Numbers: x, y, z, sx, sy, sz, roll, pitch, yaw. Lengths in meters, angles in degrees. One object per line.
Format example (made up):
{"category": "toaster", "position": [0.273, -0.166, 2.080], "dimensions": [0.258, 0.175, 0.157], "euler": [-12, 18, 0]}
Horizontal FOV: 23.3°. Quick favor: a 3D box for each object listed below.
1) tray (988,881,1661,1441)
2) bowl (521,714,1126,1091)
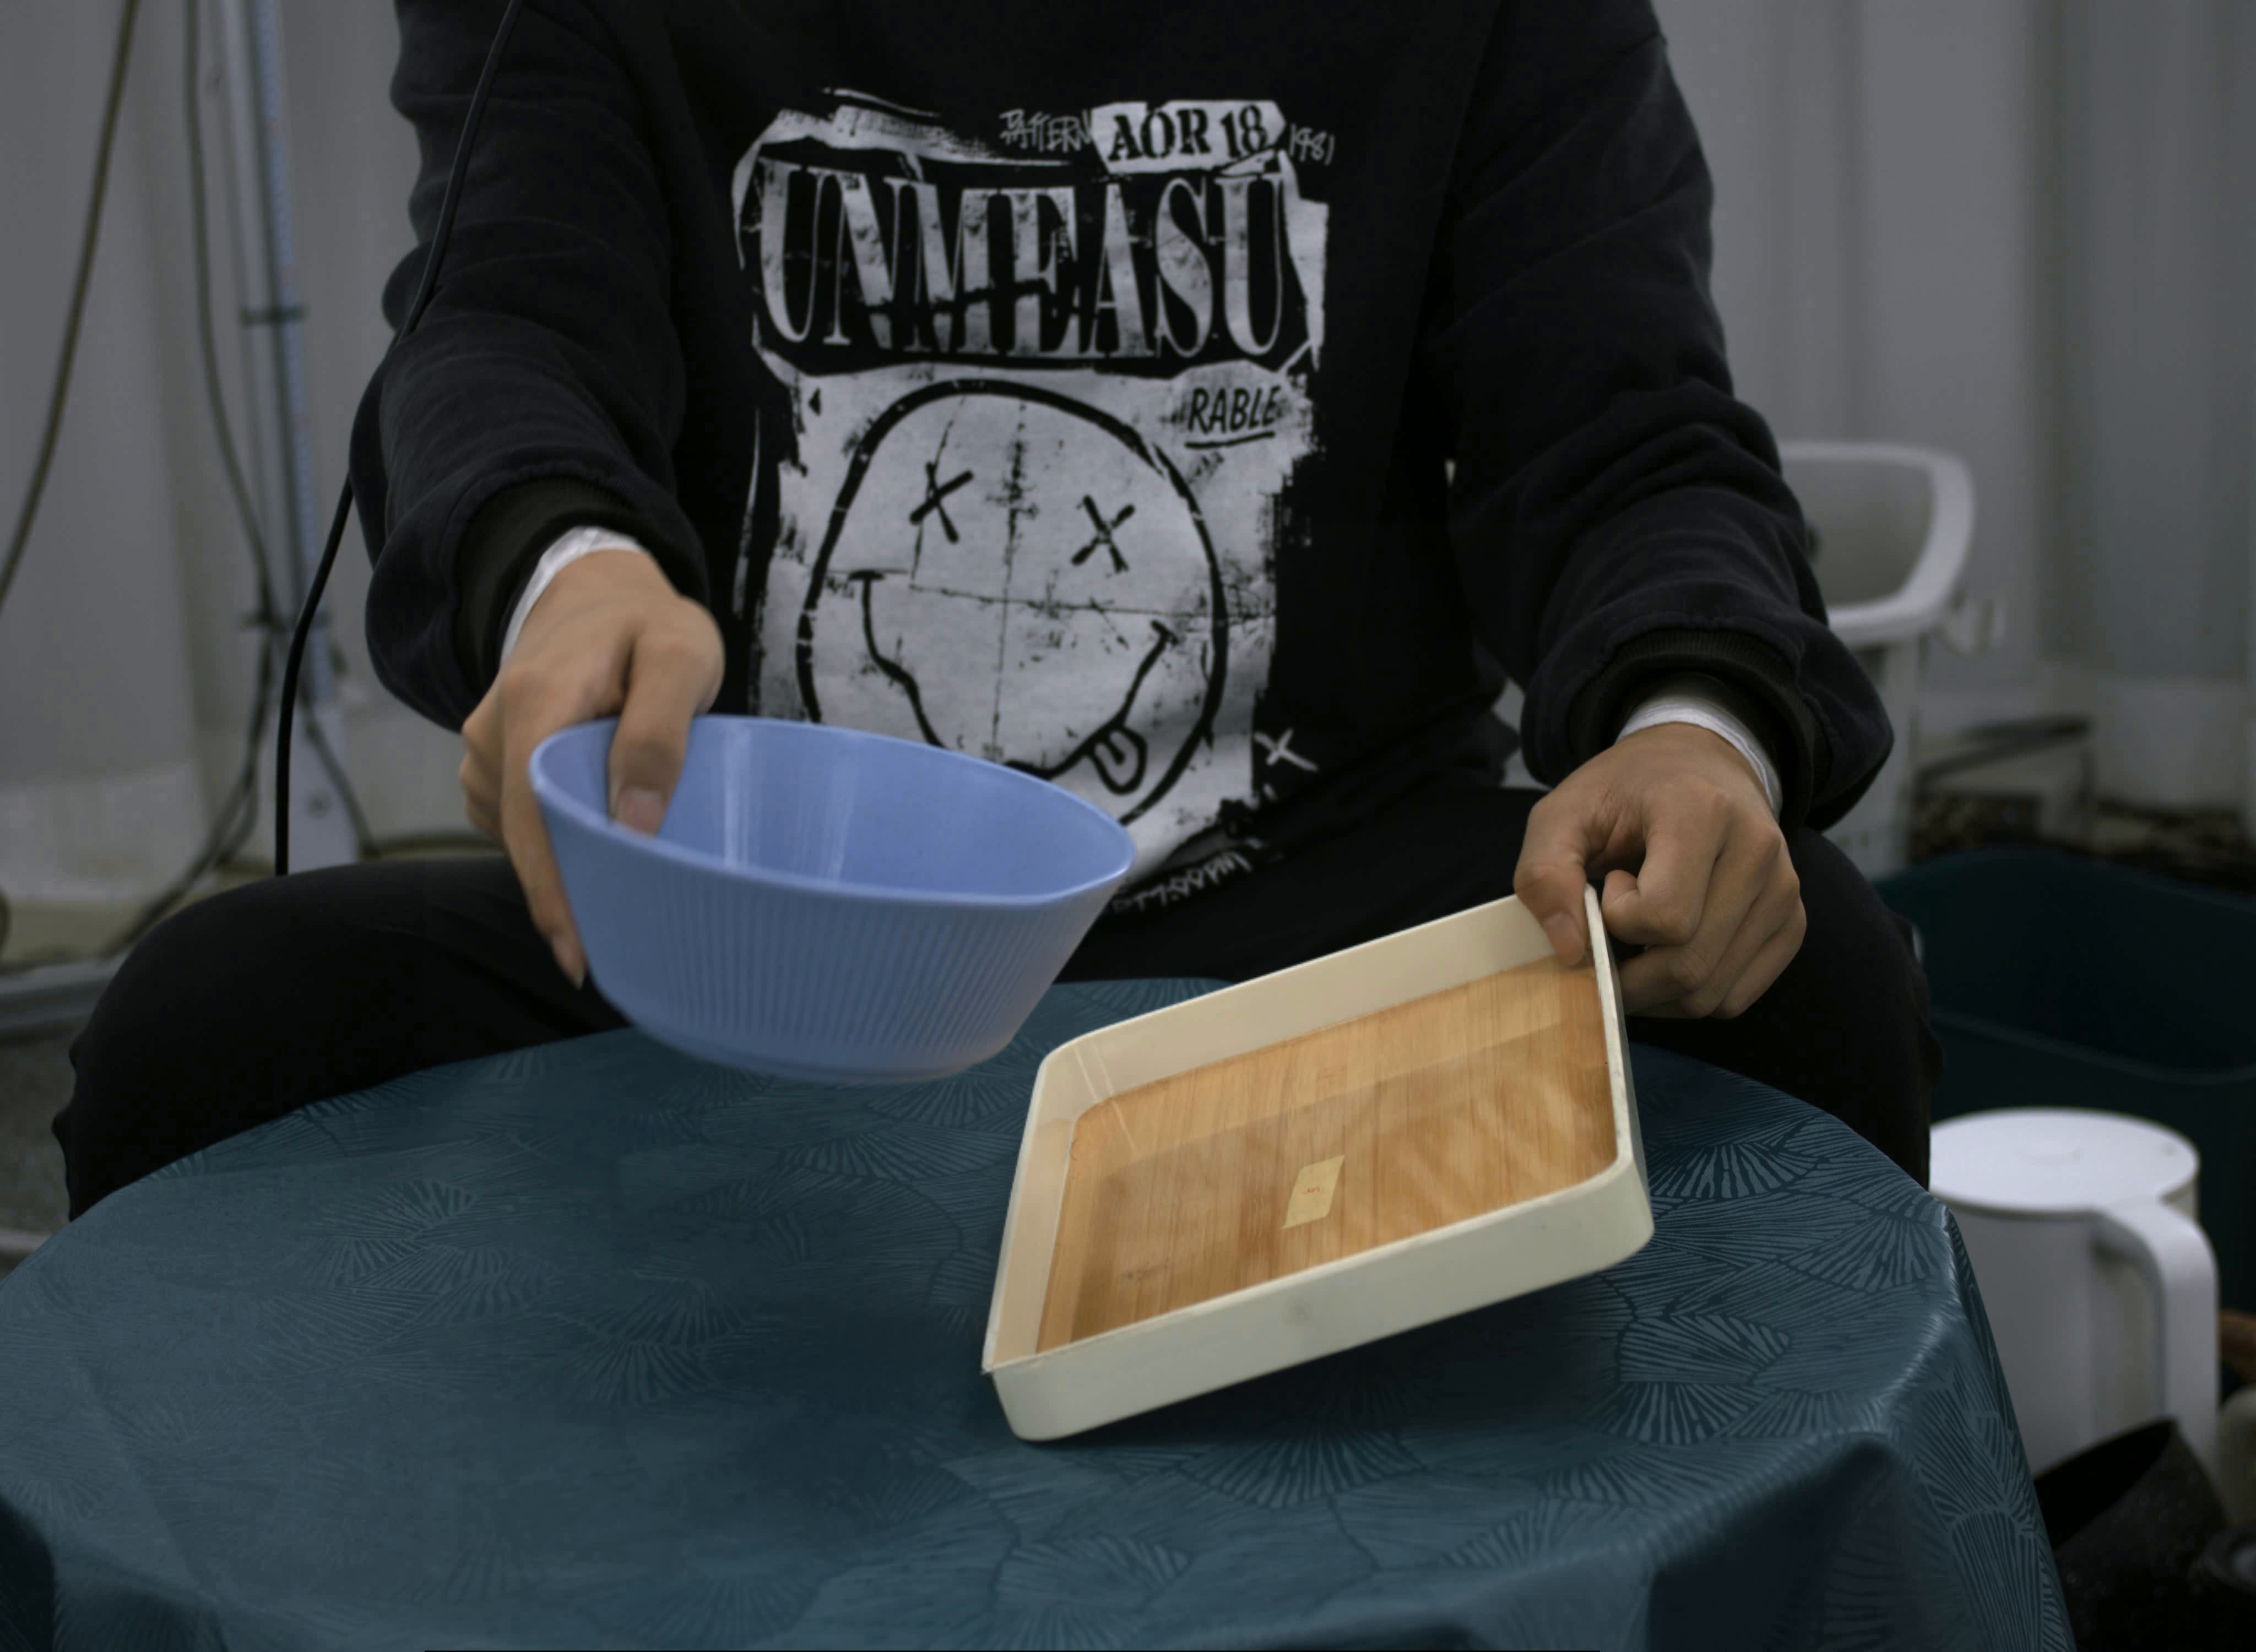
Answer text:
{"category": "tray", "position": [0.059, 0.095, 1.631], "dimensions": [0.191, 0.027, 0.302], "euler": [-18, 14, 7]}
{"category": "bowl", "position": [-0.092, 0.025, 1.573], "dimensions": [0.175, 0.070, 0.177], "euler": [8, 16, -3]}
